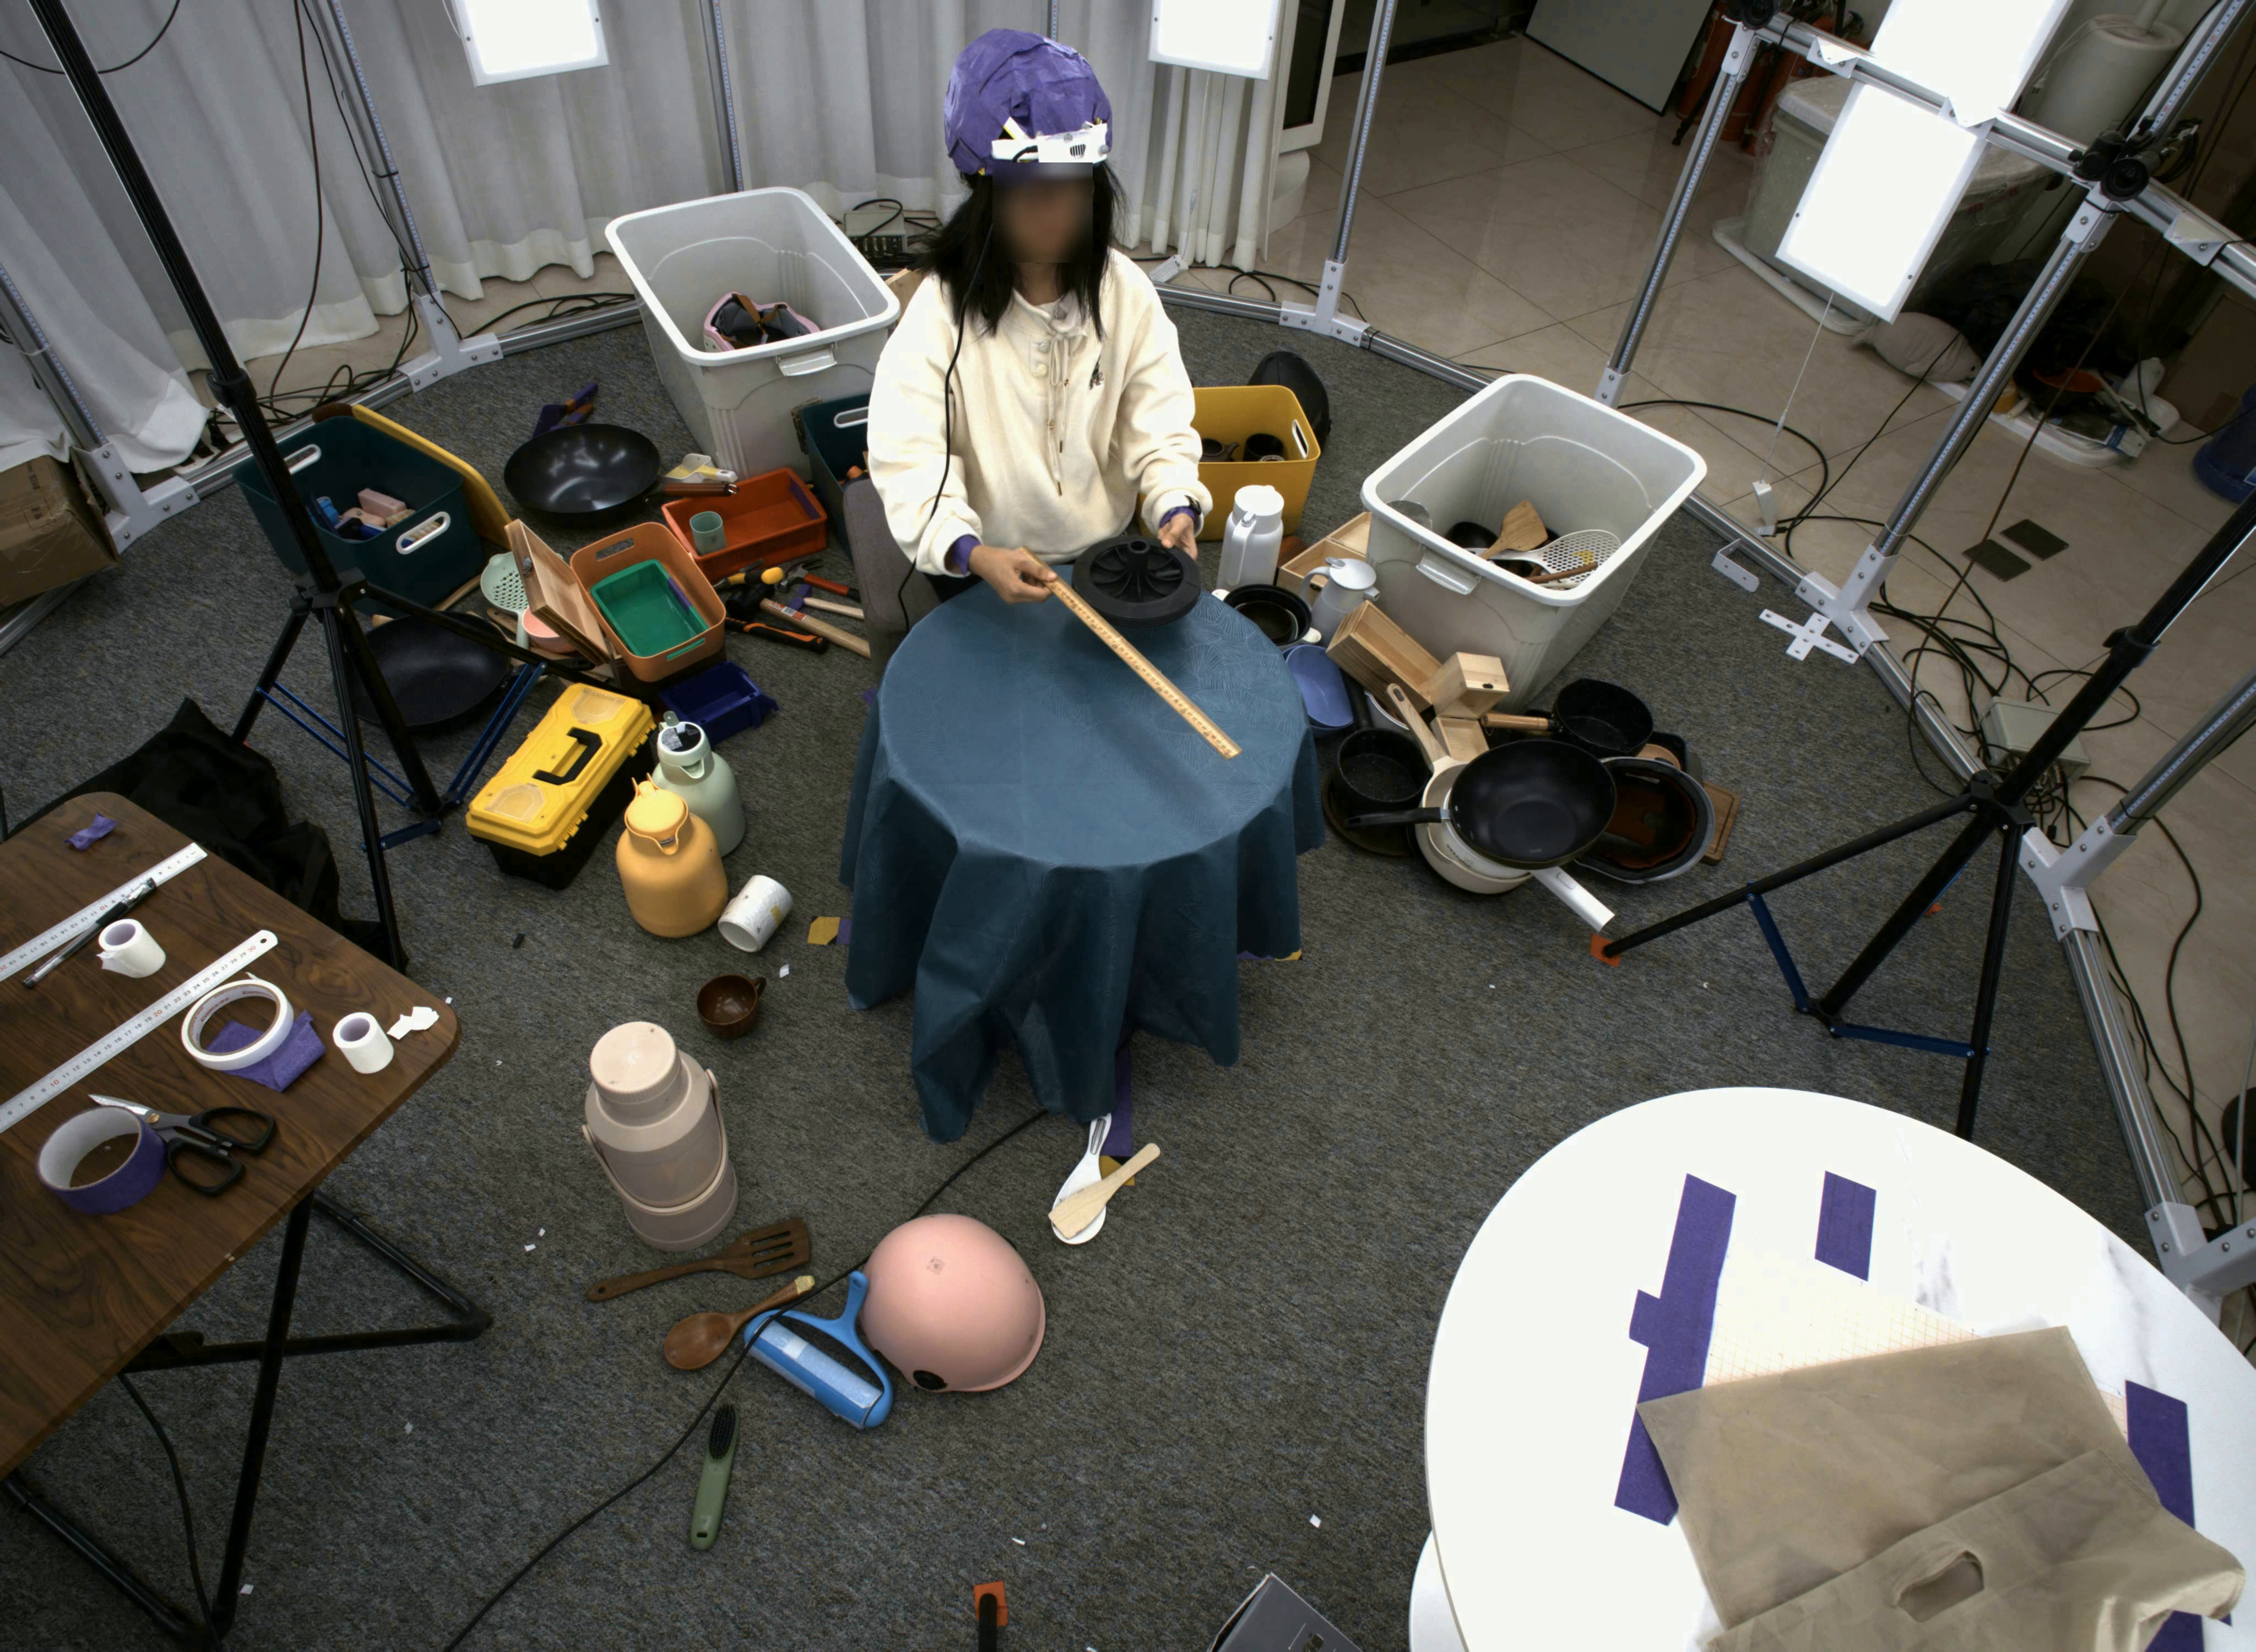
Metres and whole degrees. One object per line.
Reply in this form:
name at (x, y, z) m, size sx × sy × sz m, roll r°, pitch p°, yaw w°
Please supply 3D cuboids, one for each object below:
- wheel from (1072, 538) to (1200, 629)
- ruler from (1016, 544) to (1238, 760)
wheel at (0.014, -0.369, 1.858) m, size 0.191 × 0.077 × 0.191 m, roll -30°, pitch 57°, yaw -27°
ruler at (-0.013, -0.250, 1.767) m, size 0.027 × 0.006 × 0.510 m, roll -28°, pitch 56°, yaw -21°
